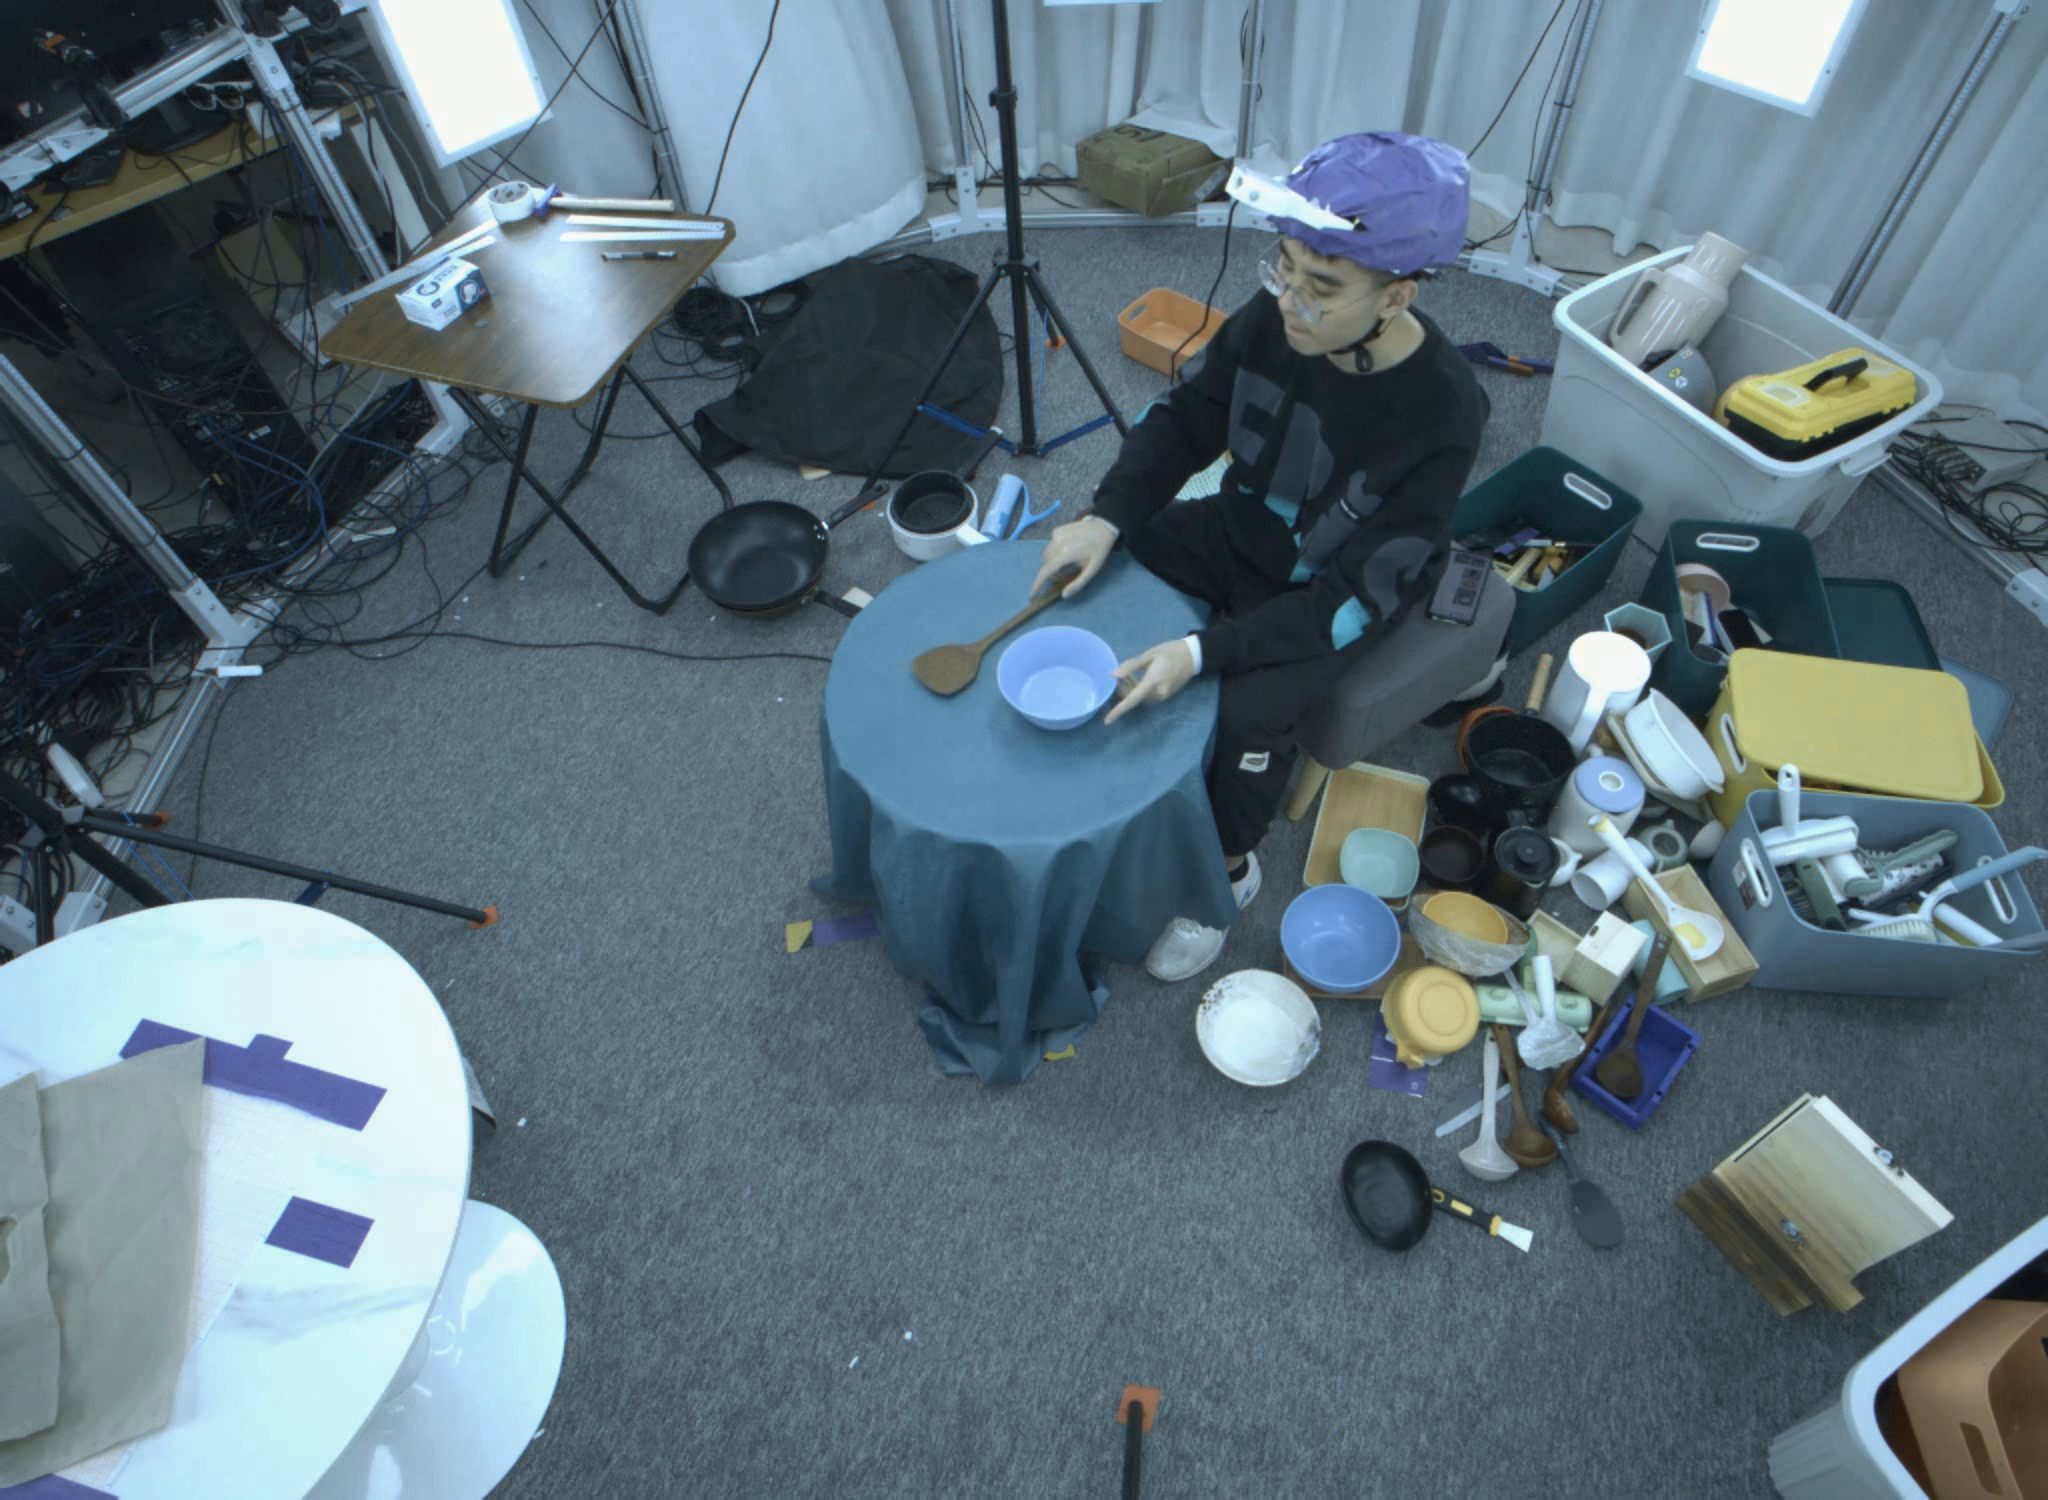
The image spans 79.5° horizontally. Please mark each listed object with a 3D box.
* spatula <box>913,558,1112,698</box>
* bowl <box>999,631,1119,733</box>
[{"bbox_3d":[-0.006,-0.204,1.932,0.389,0.016,0.094,-37,62,-22],"label":"spatula"},{"bbox_3d":[0.052,-0.090,1.817,0.176,0.071,0.174,0,54,1],"label":"bowl"}]
